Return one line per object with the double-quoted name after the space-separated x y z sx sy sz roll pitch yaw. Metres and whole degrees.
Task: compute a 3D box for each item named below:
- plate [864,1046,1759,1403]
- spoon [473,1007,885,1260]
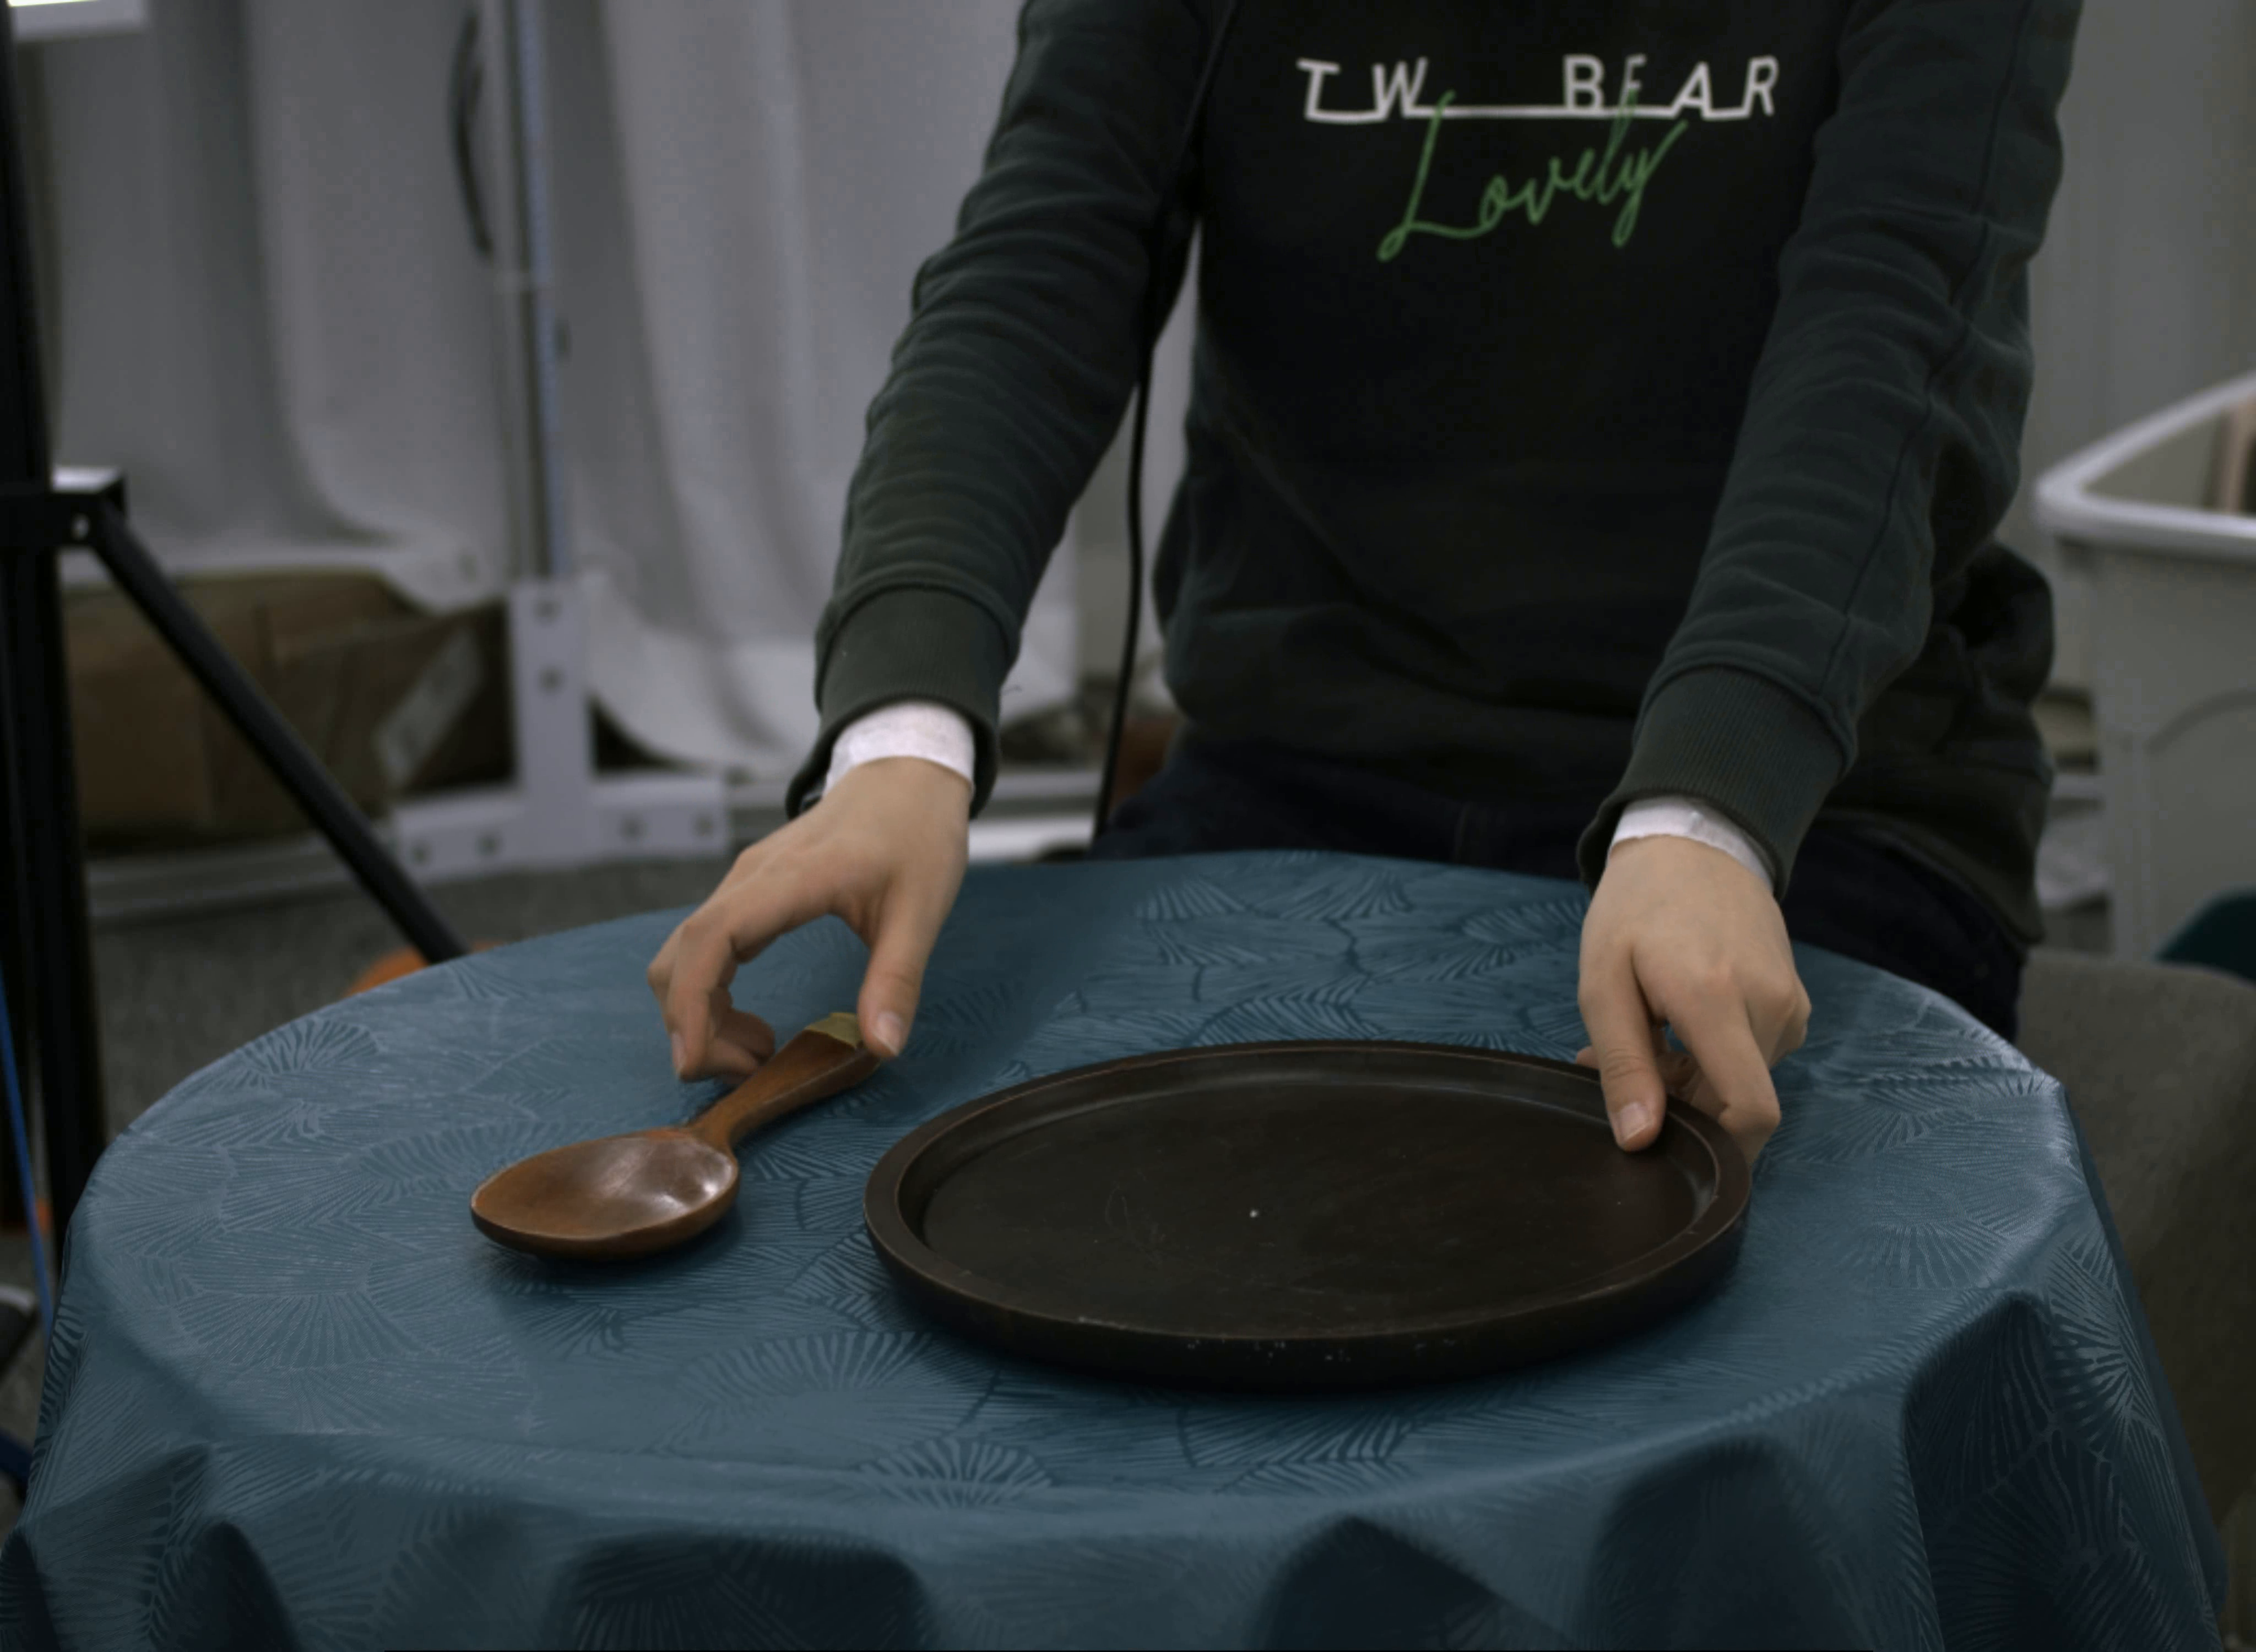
0.052 0.110 1.502 0.253 0.029 0.256 -2 17 -1 "plate"
-0.125 0.093 1.599 0.076 0.017 0.213 4 17 23 "spoon"
